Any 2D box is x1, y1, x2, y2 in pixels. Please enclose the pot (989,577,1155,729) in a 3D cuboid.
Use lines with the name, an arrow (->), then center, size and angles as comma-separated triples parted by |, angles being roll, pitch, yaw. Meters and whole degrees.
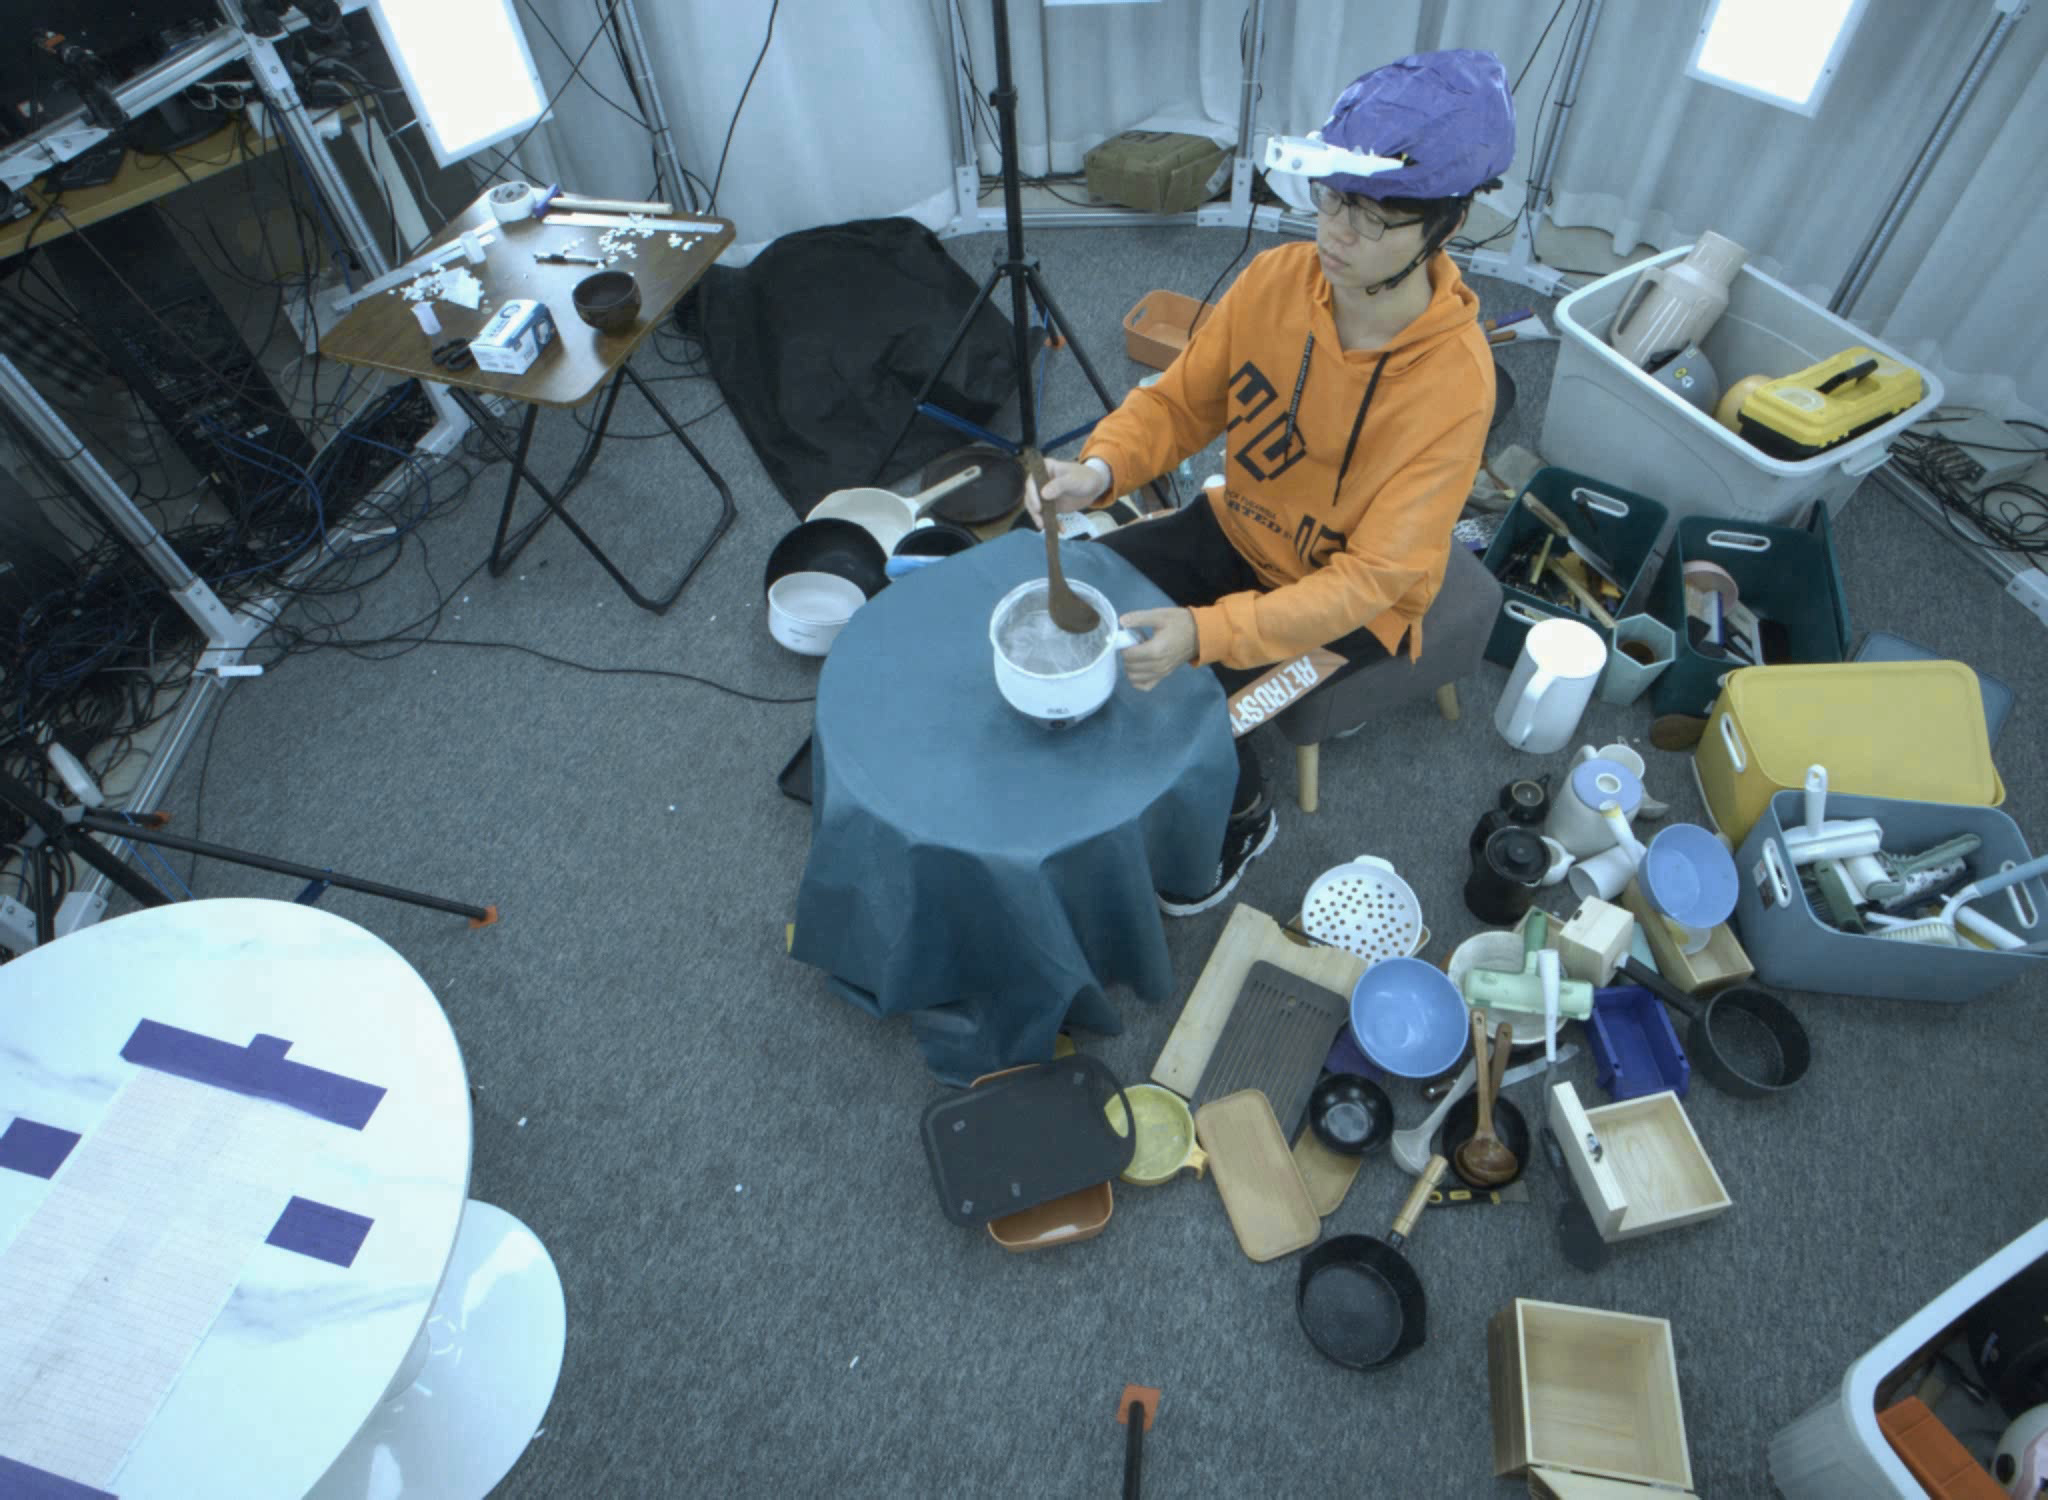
pot -> 0.071, -0.139, 1.747 | 0.234, 0.138, 0.177 | -4, 60, 0

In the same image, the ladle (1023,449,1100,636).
ladle -> 0.049, -0.291, 1.691 | 0.077, 0.070, 0.274 | -12, 94, -42
